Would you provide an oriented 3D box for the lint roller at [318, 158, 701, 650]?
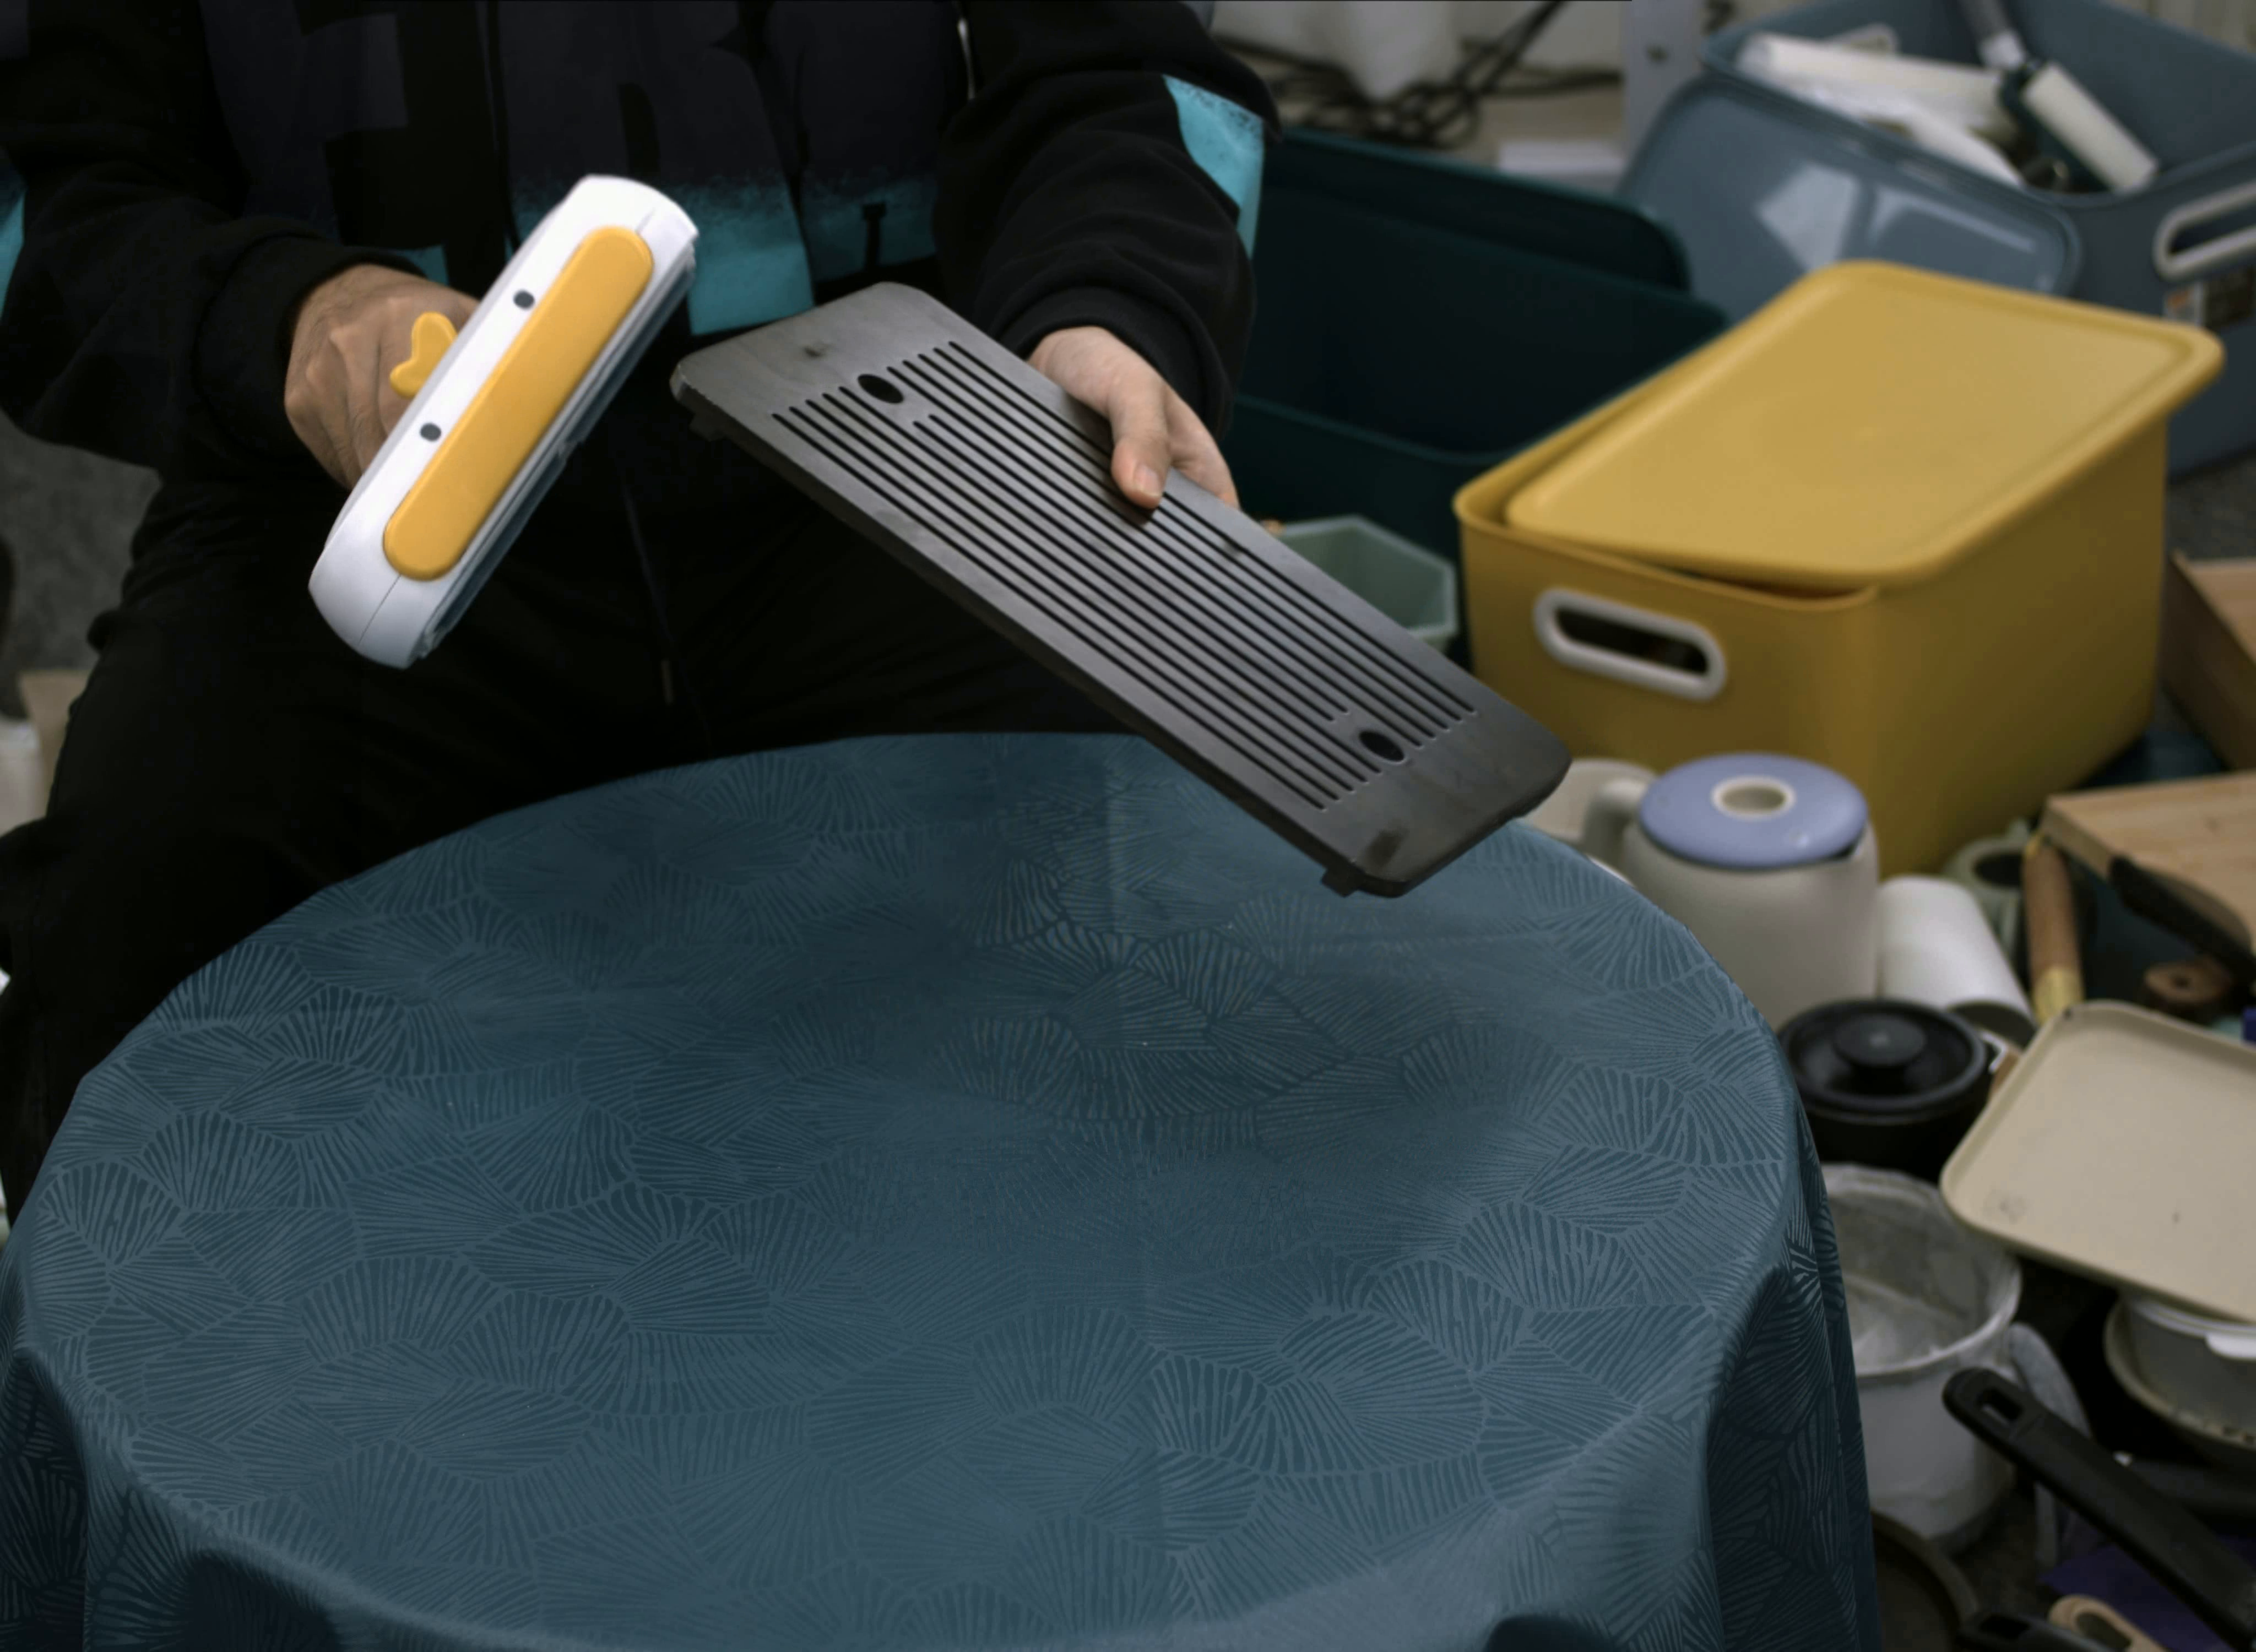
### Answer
[{"bbox_3d":[-0.239,-0.143,2.016,0.074,0.195,0.190,32,-18,-12],"label":"lint roller"}]

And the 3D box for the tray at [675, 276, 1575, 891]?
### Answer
[{"bbox_3d":[0.000,-0.084,1.909,0.306,0.018,0.172,36,27,14],"label":"tray"}]
